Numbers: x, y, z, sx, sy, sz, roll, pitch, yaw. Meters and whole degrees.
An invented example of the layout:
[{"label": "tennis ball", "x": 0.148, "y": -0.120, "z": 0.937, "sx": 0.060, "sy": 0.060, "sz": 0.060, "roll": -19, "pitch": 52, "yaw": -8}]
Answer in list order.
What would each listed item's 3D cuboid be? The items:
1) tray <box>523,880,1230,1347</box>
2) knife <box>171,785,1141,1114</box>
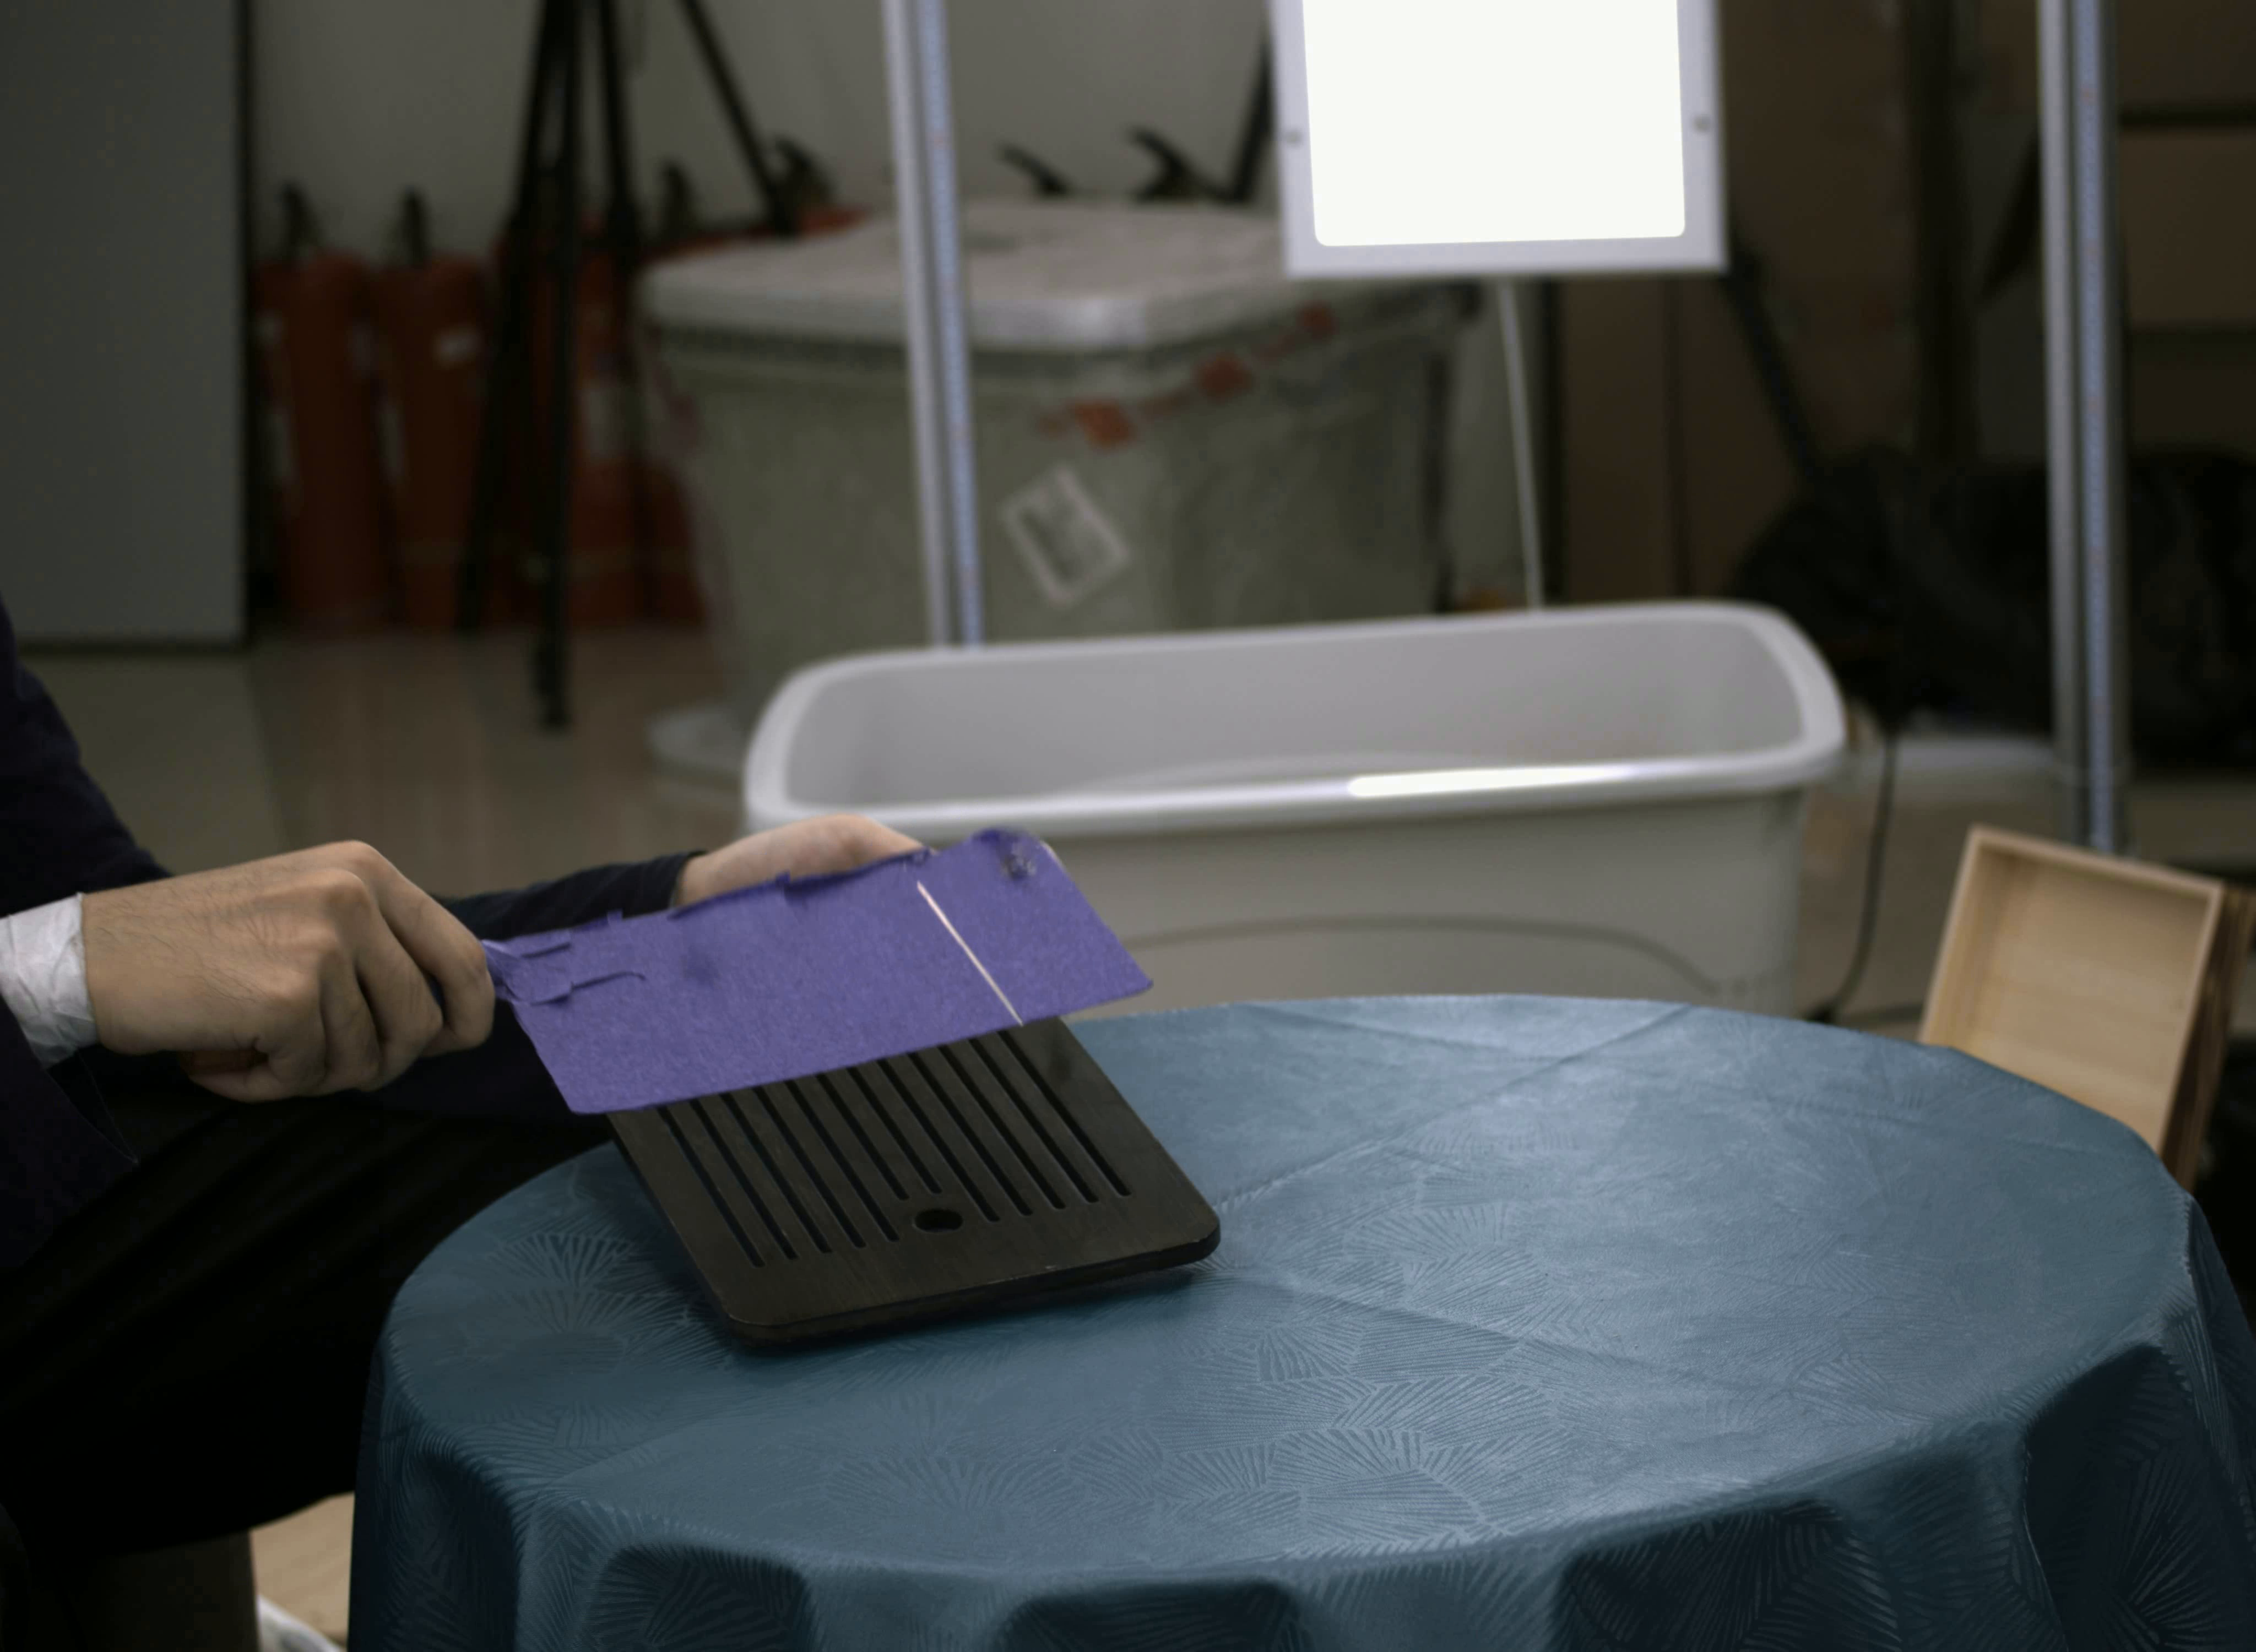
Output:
[{"label": "tray", "x": -0.093, "y": 0.094, "z": 1.912, "sx": 0.167, "sy": 0.019, "sz": 0.309, "roll": -11, "pitch": 26, "yaw": -16}, {"label": "knife", "x": -0.149, "y": 0.050, "z": 1.796, "sx": 0.309, "sy": 0.032, "sz": 0.105, "roll": -15, "pitch": 43, "yaw": -20}]
